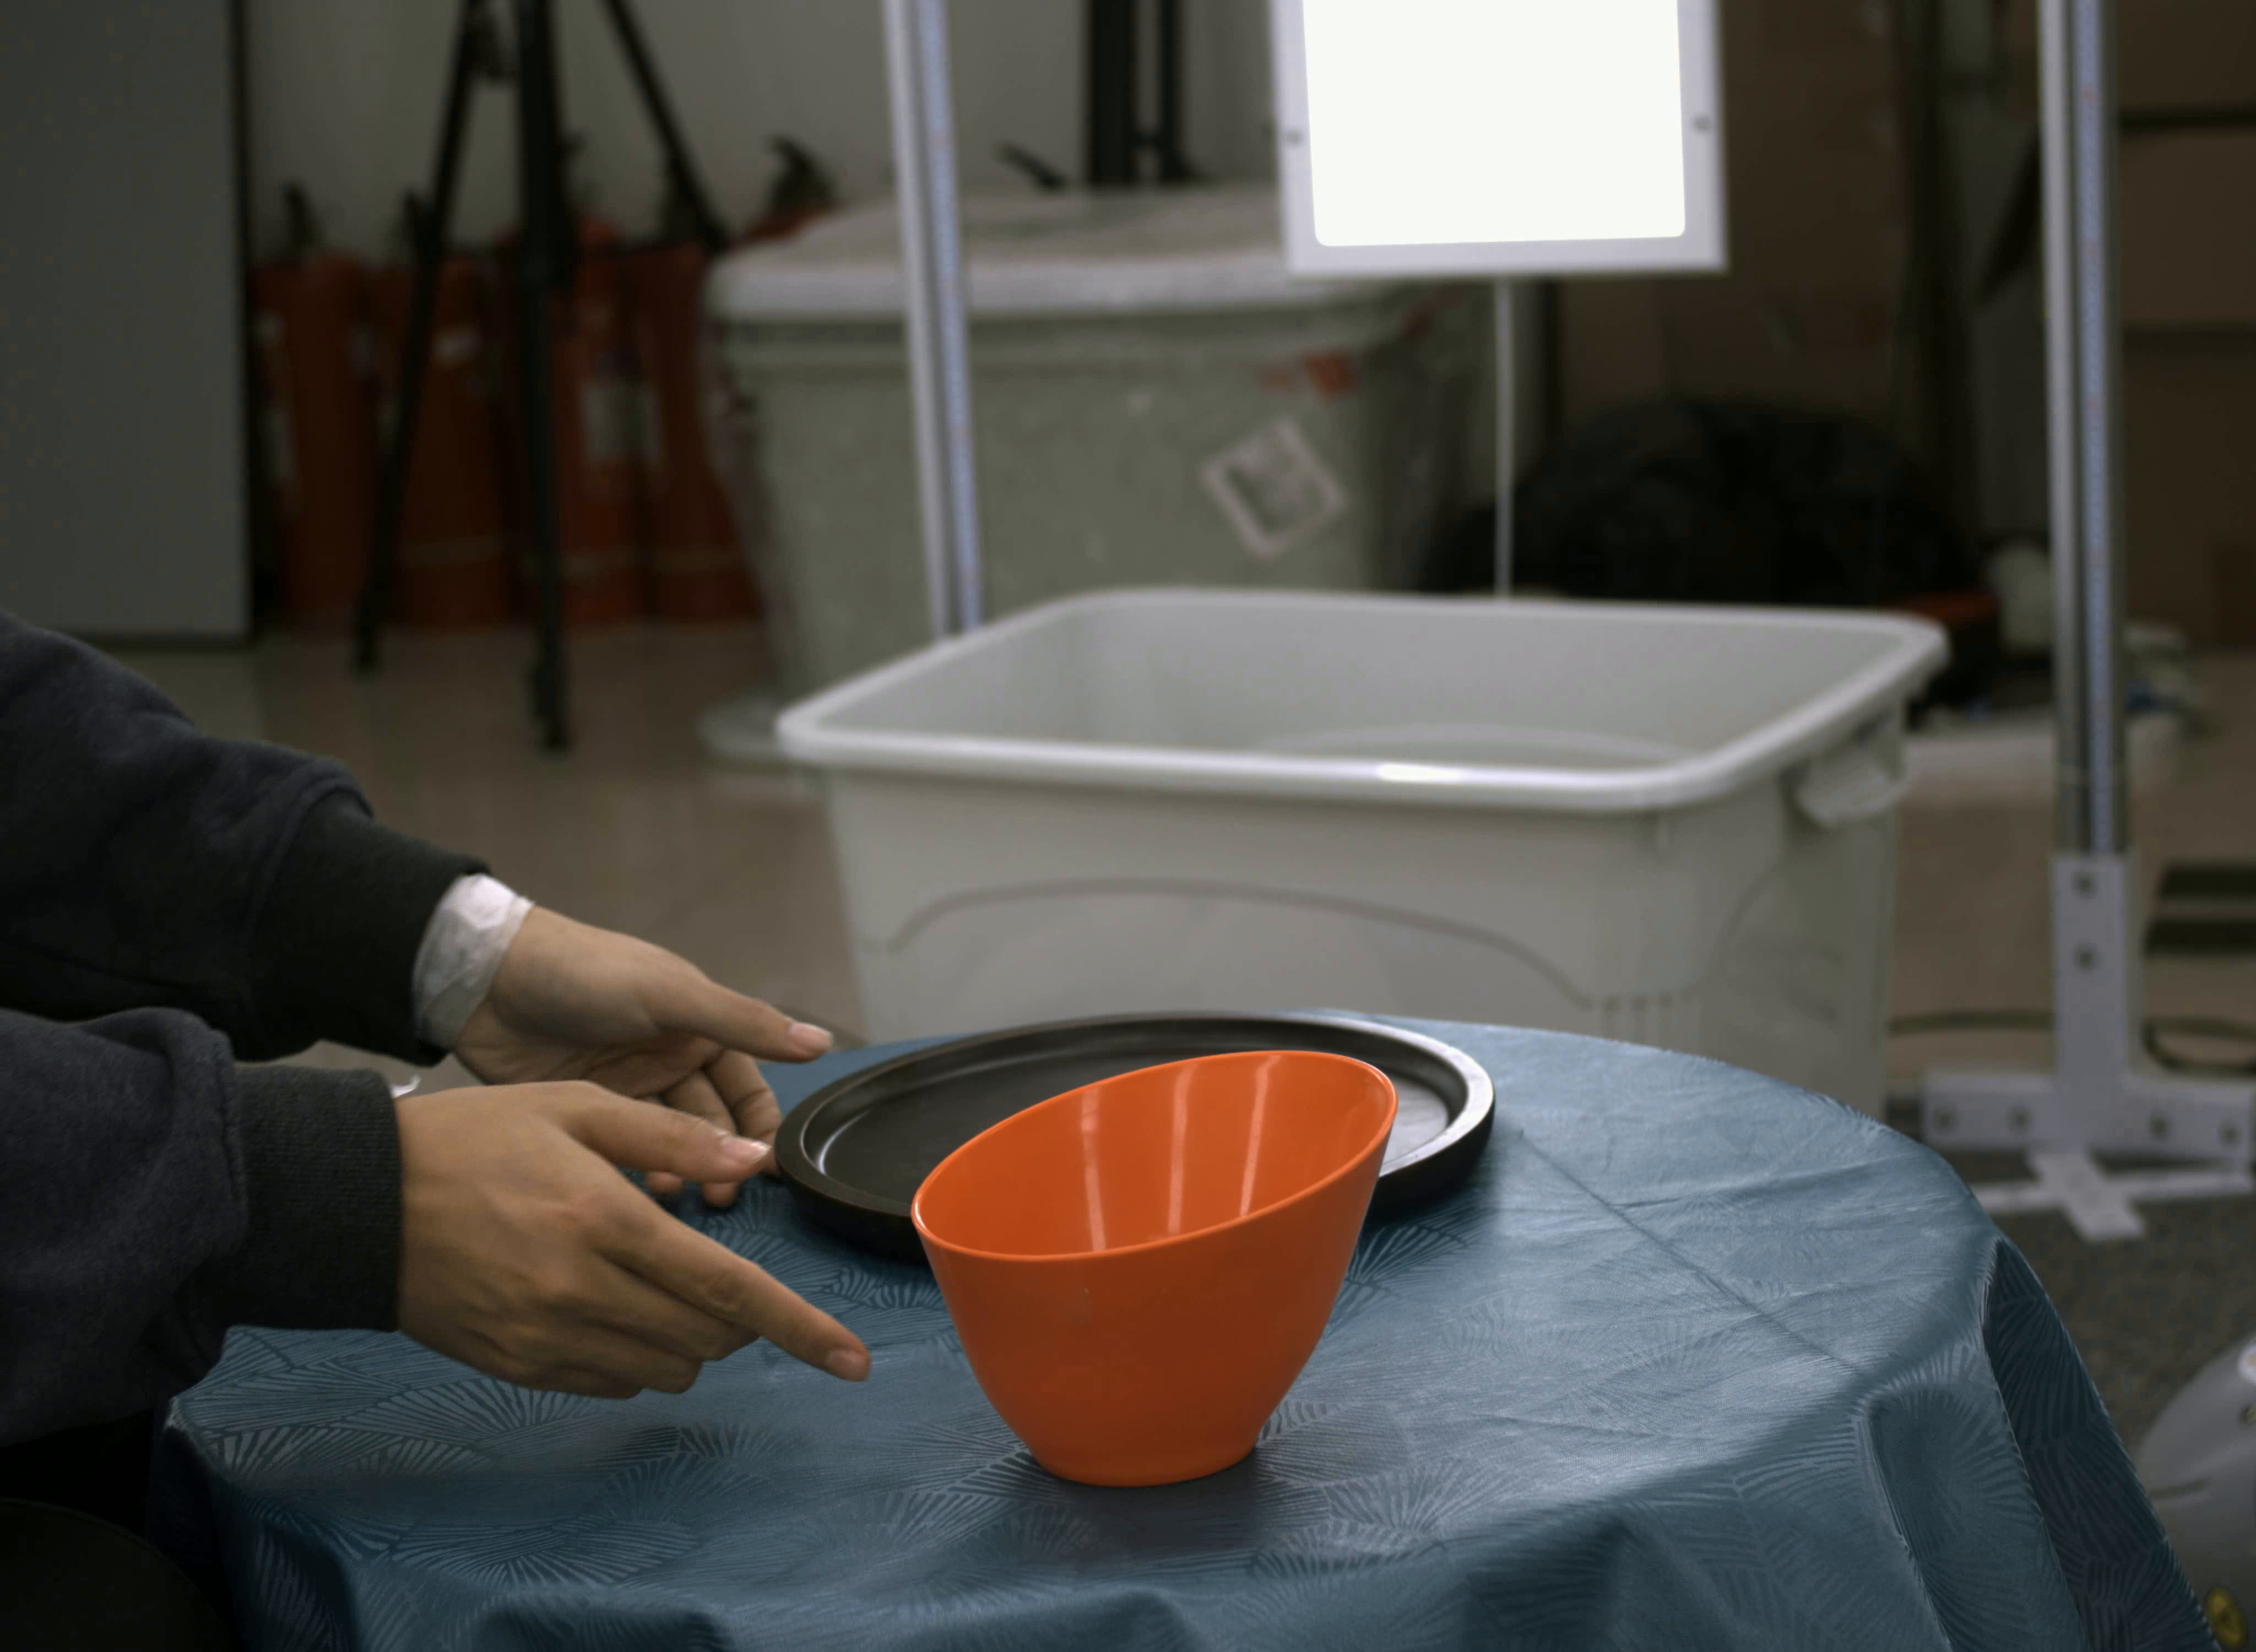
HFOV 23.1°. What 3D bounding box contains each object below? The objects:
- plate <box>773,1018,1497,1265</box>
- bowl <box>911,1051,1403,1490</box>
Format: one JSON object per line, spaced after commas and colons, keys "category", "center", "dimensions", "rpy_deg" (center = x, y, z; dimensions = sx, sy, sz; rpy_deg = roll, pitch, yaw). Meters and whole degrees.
{"category": "plate", "center": [0.003, 0.109, 1.918], "dimensions": [0.254, 0.029, 0.254], "rpy_deg": [-5, 15, 0]}
{"category": "bowl", "center": [0.011, 0.136, 1.640], "dimensions": [0.147, 0.105, 0.148], "rpy_deg": [-3, 16, 0]}
